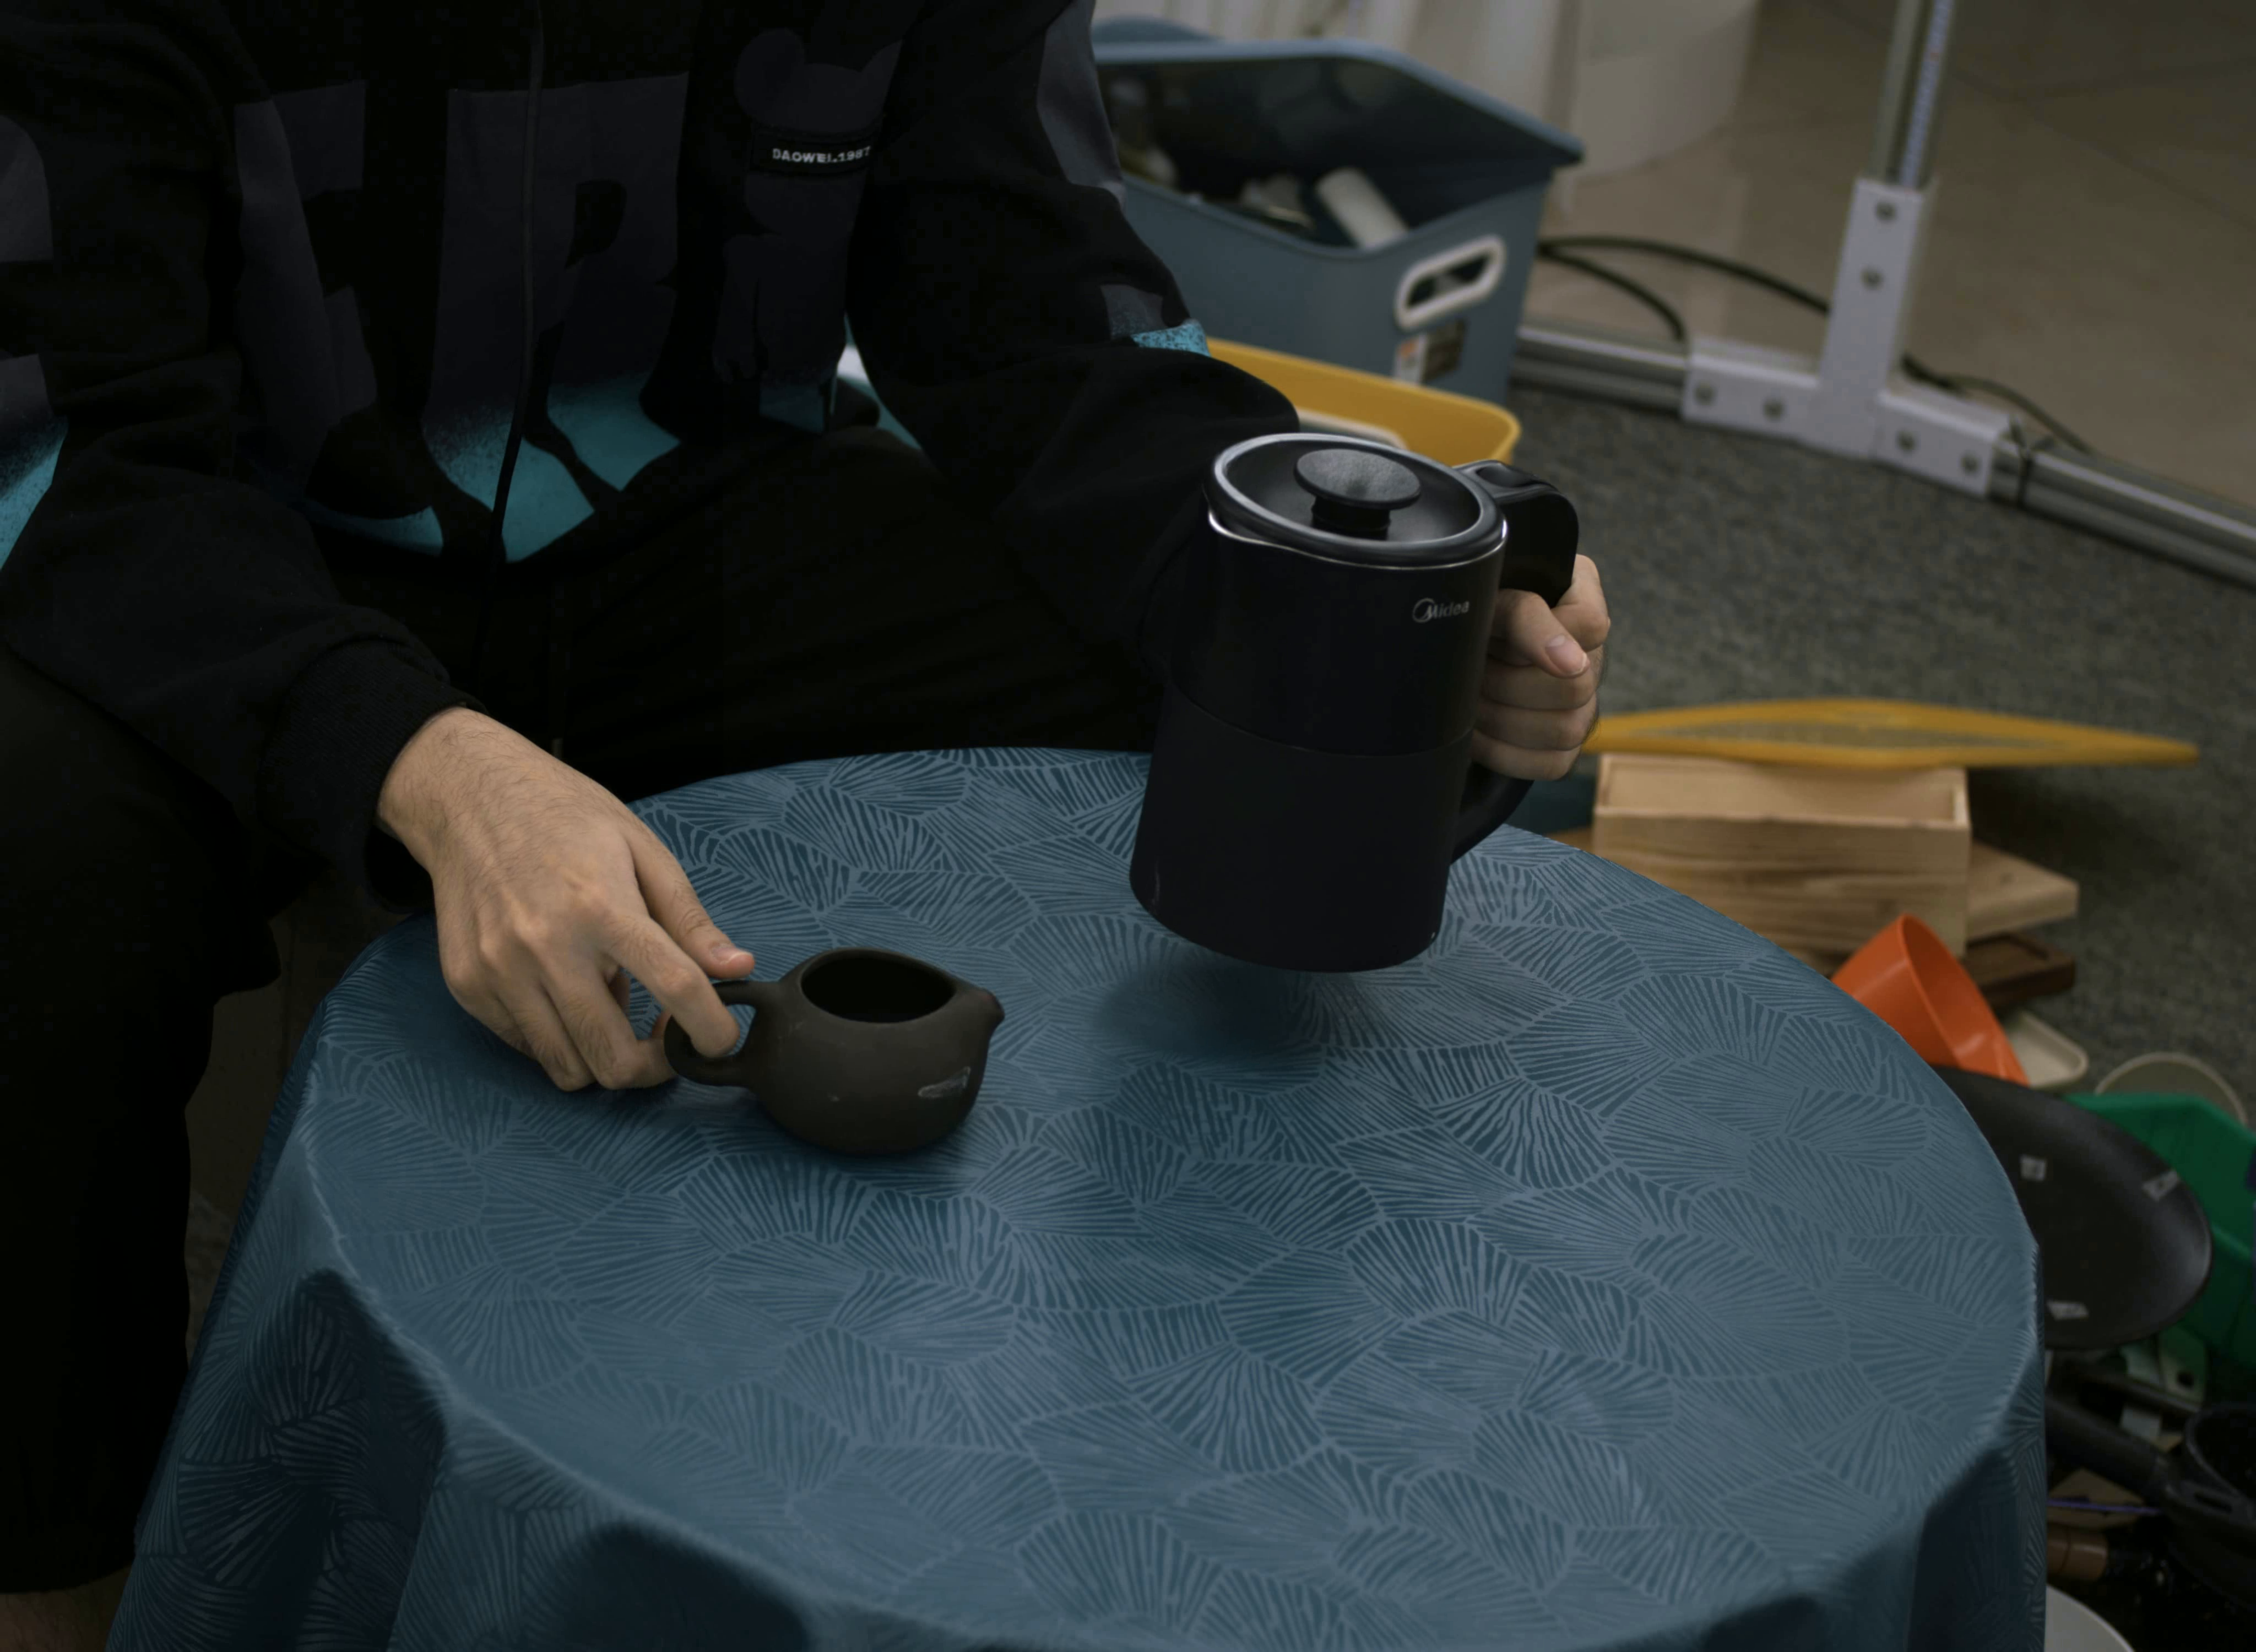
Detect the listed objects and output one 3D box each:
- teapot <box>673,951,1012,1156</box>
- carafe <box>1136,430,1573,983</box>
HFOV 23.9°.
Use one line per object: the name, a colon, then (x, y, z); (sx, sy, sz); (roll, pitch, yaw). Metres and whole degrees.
teapot: (-0.098, 0.076, 1.817); (0.114, 0.053, 0.083); (8, 25, -3)
carafe: (0.085, -0.052, 1.889); (0.170, 0.173, 0.115); (-15, 32, -39)
